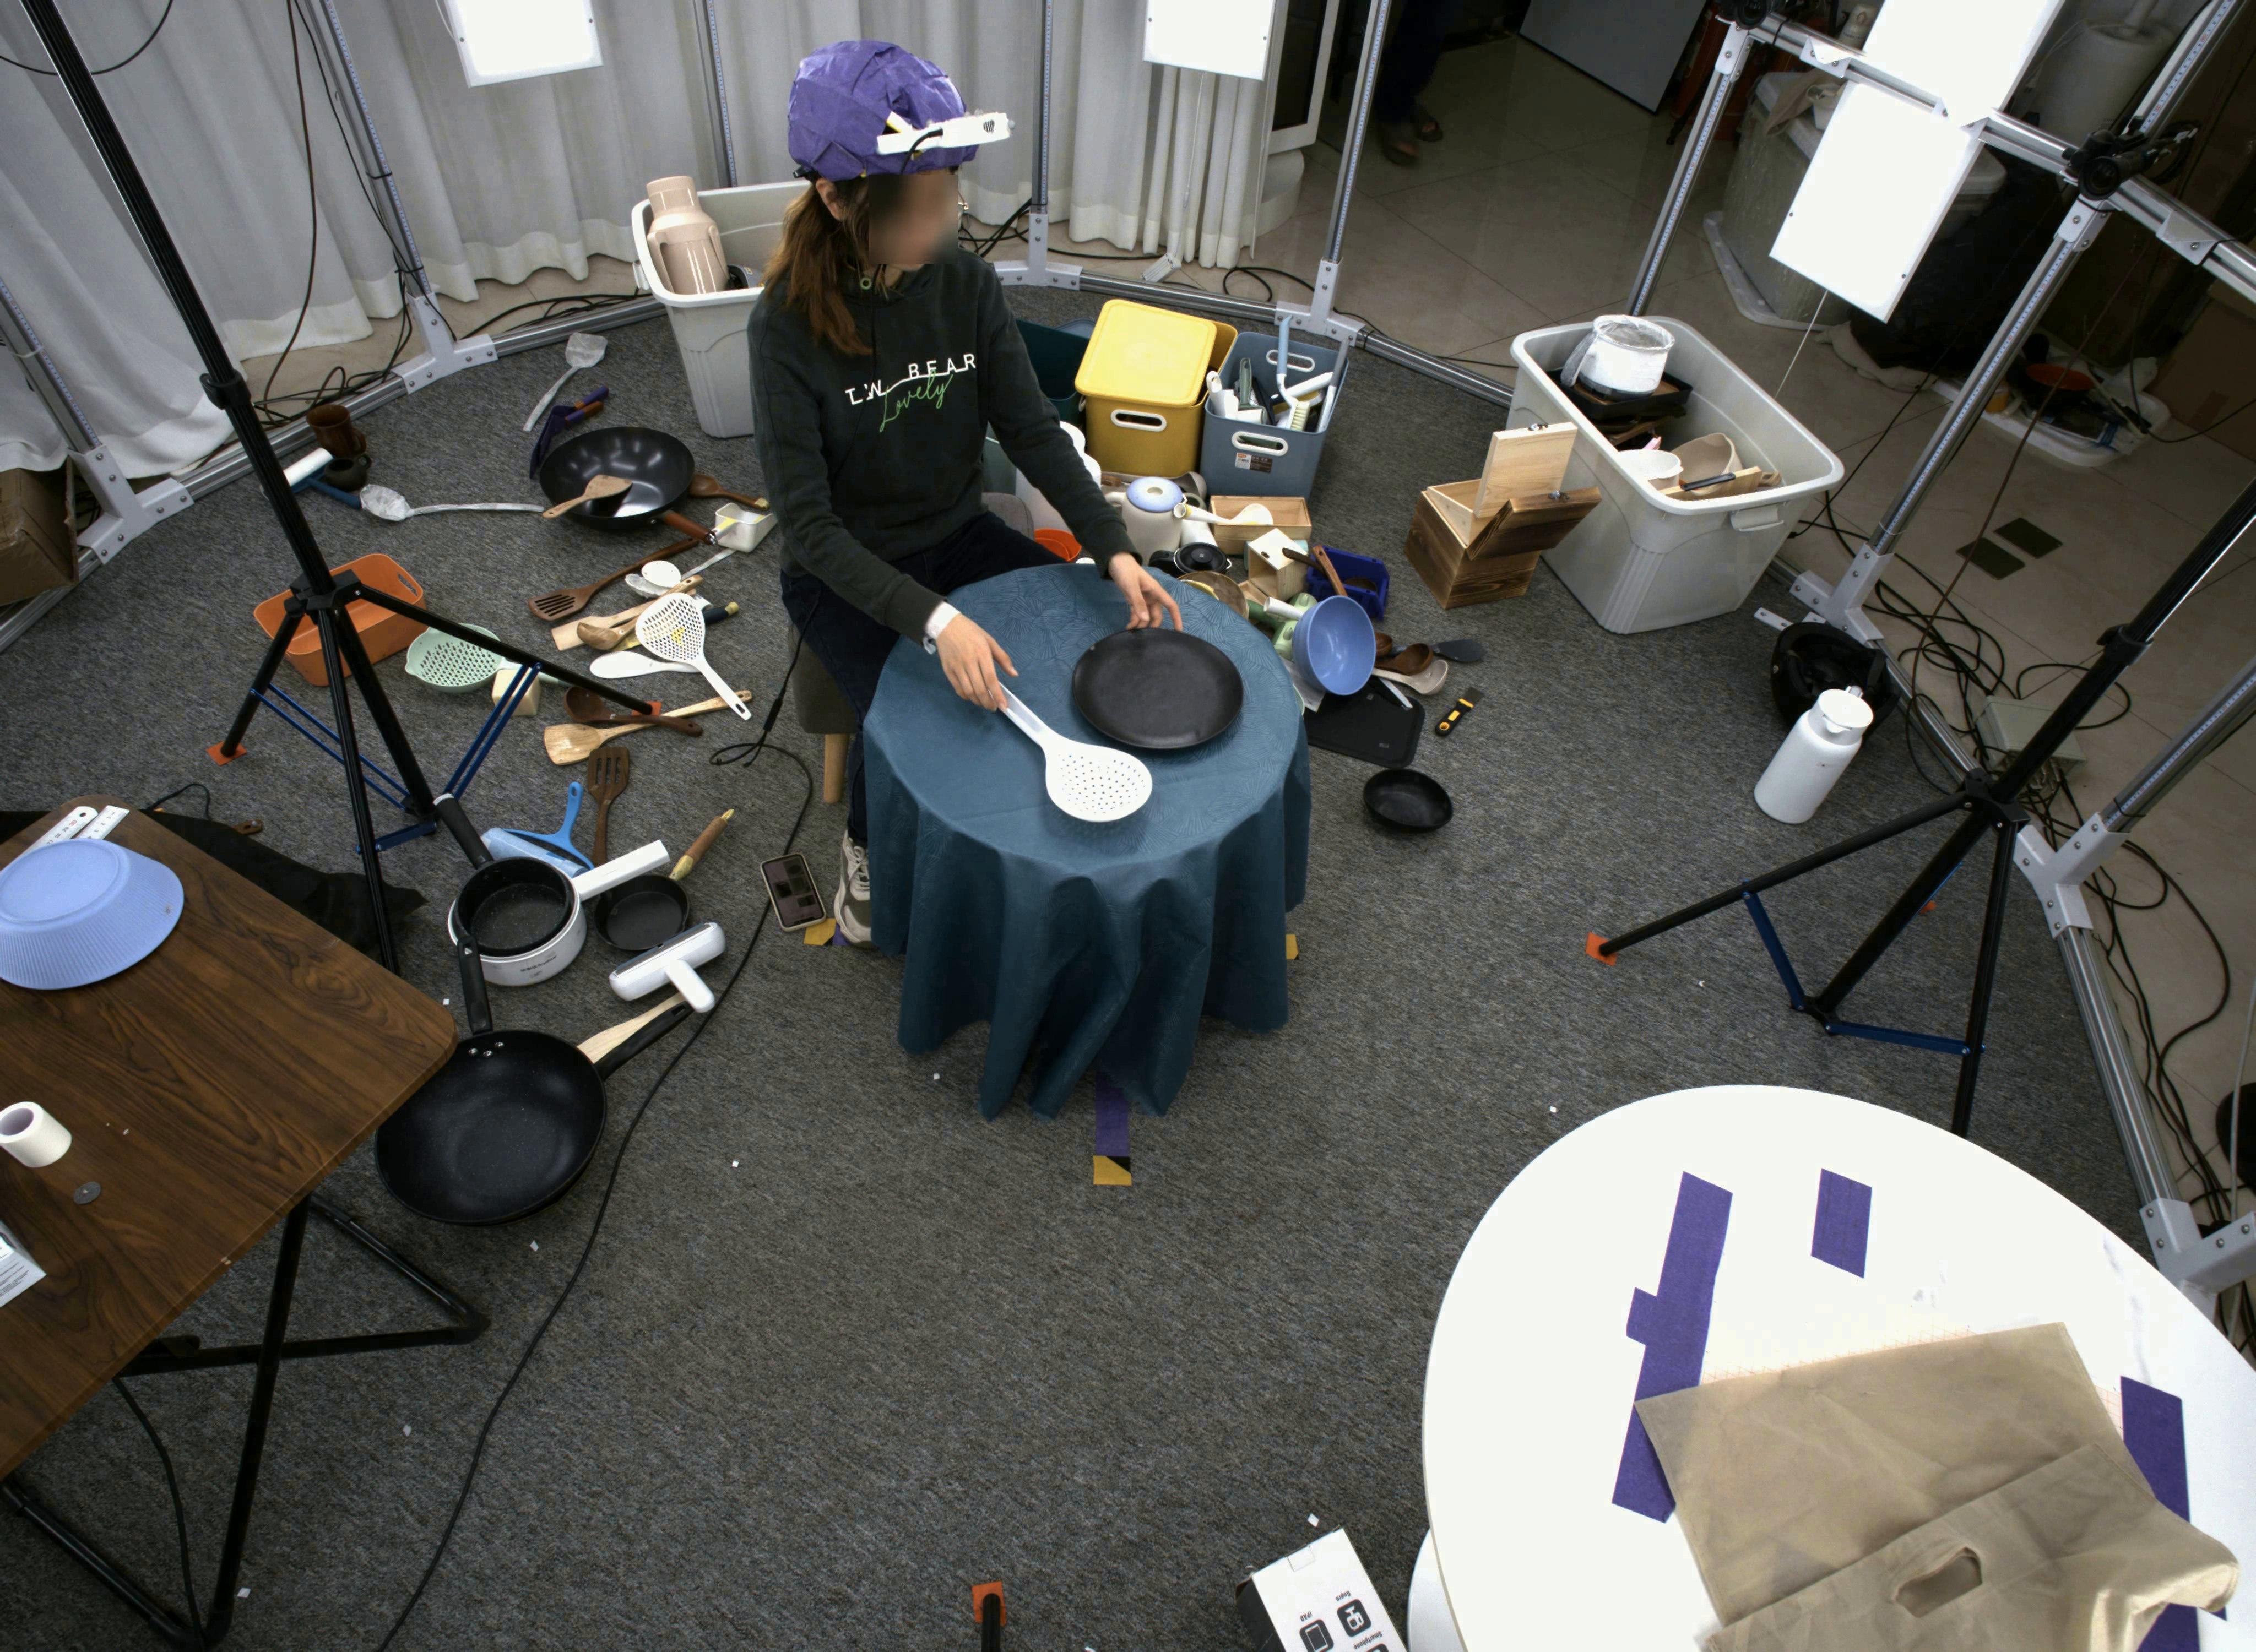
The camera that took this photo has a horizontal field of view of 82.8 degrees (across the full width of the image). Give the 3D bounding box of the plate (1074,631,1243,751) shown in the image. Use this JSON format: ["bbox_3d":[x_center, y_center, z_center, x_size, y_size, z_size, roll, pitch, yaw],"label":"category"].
[{"bbox_3d":[0.043,-0.192,1.840,0.244,0.023,0.250,2,49,-2],"label":"plate"}]

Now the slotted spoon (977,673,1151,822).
[{"bbox_3d":[-0.103,-0.112,1.745,0.137,0.044,0.356,-26,55,-27],"label":"slotted spoon"}]
